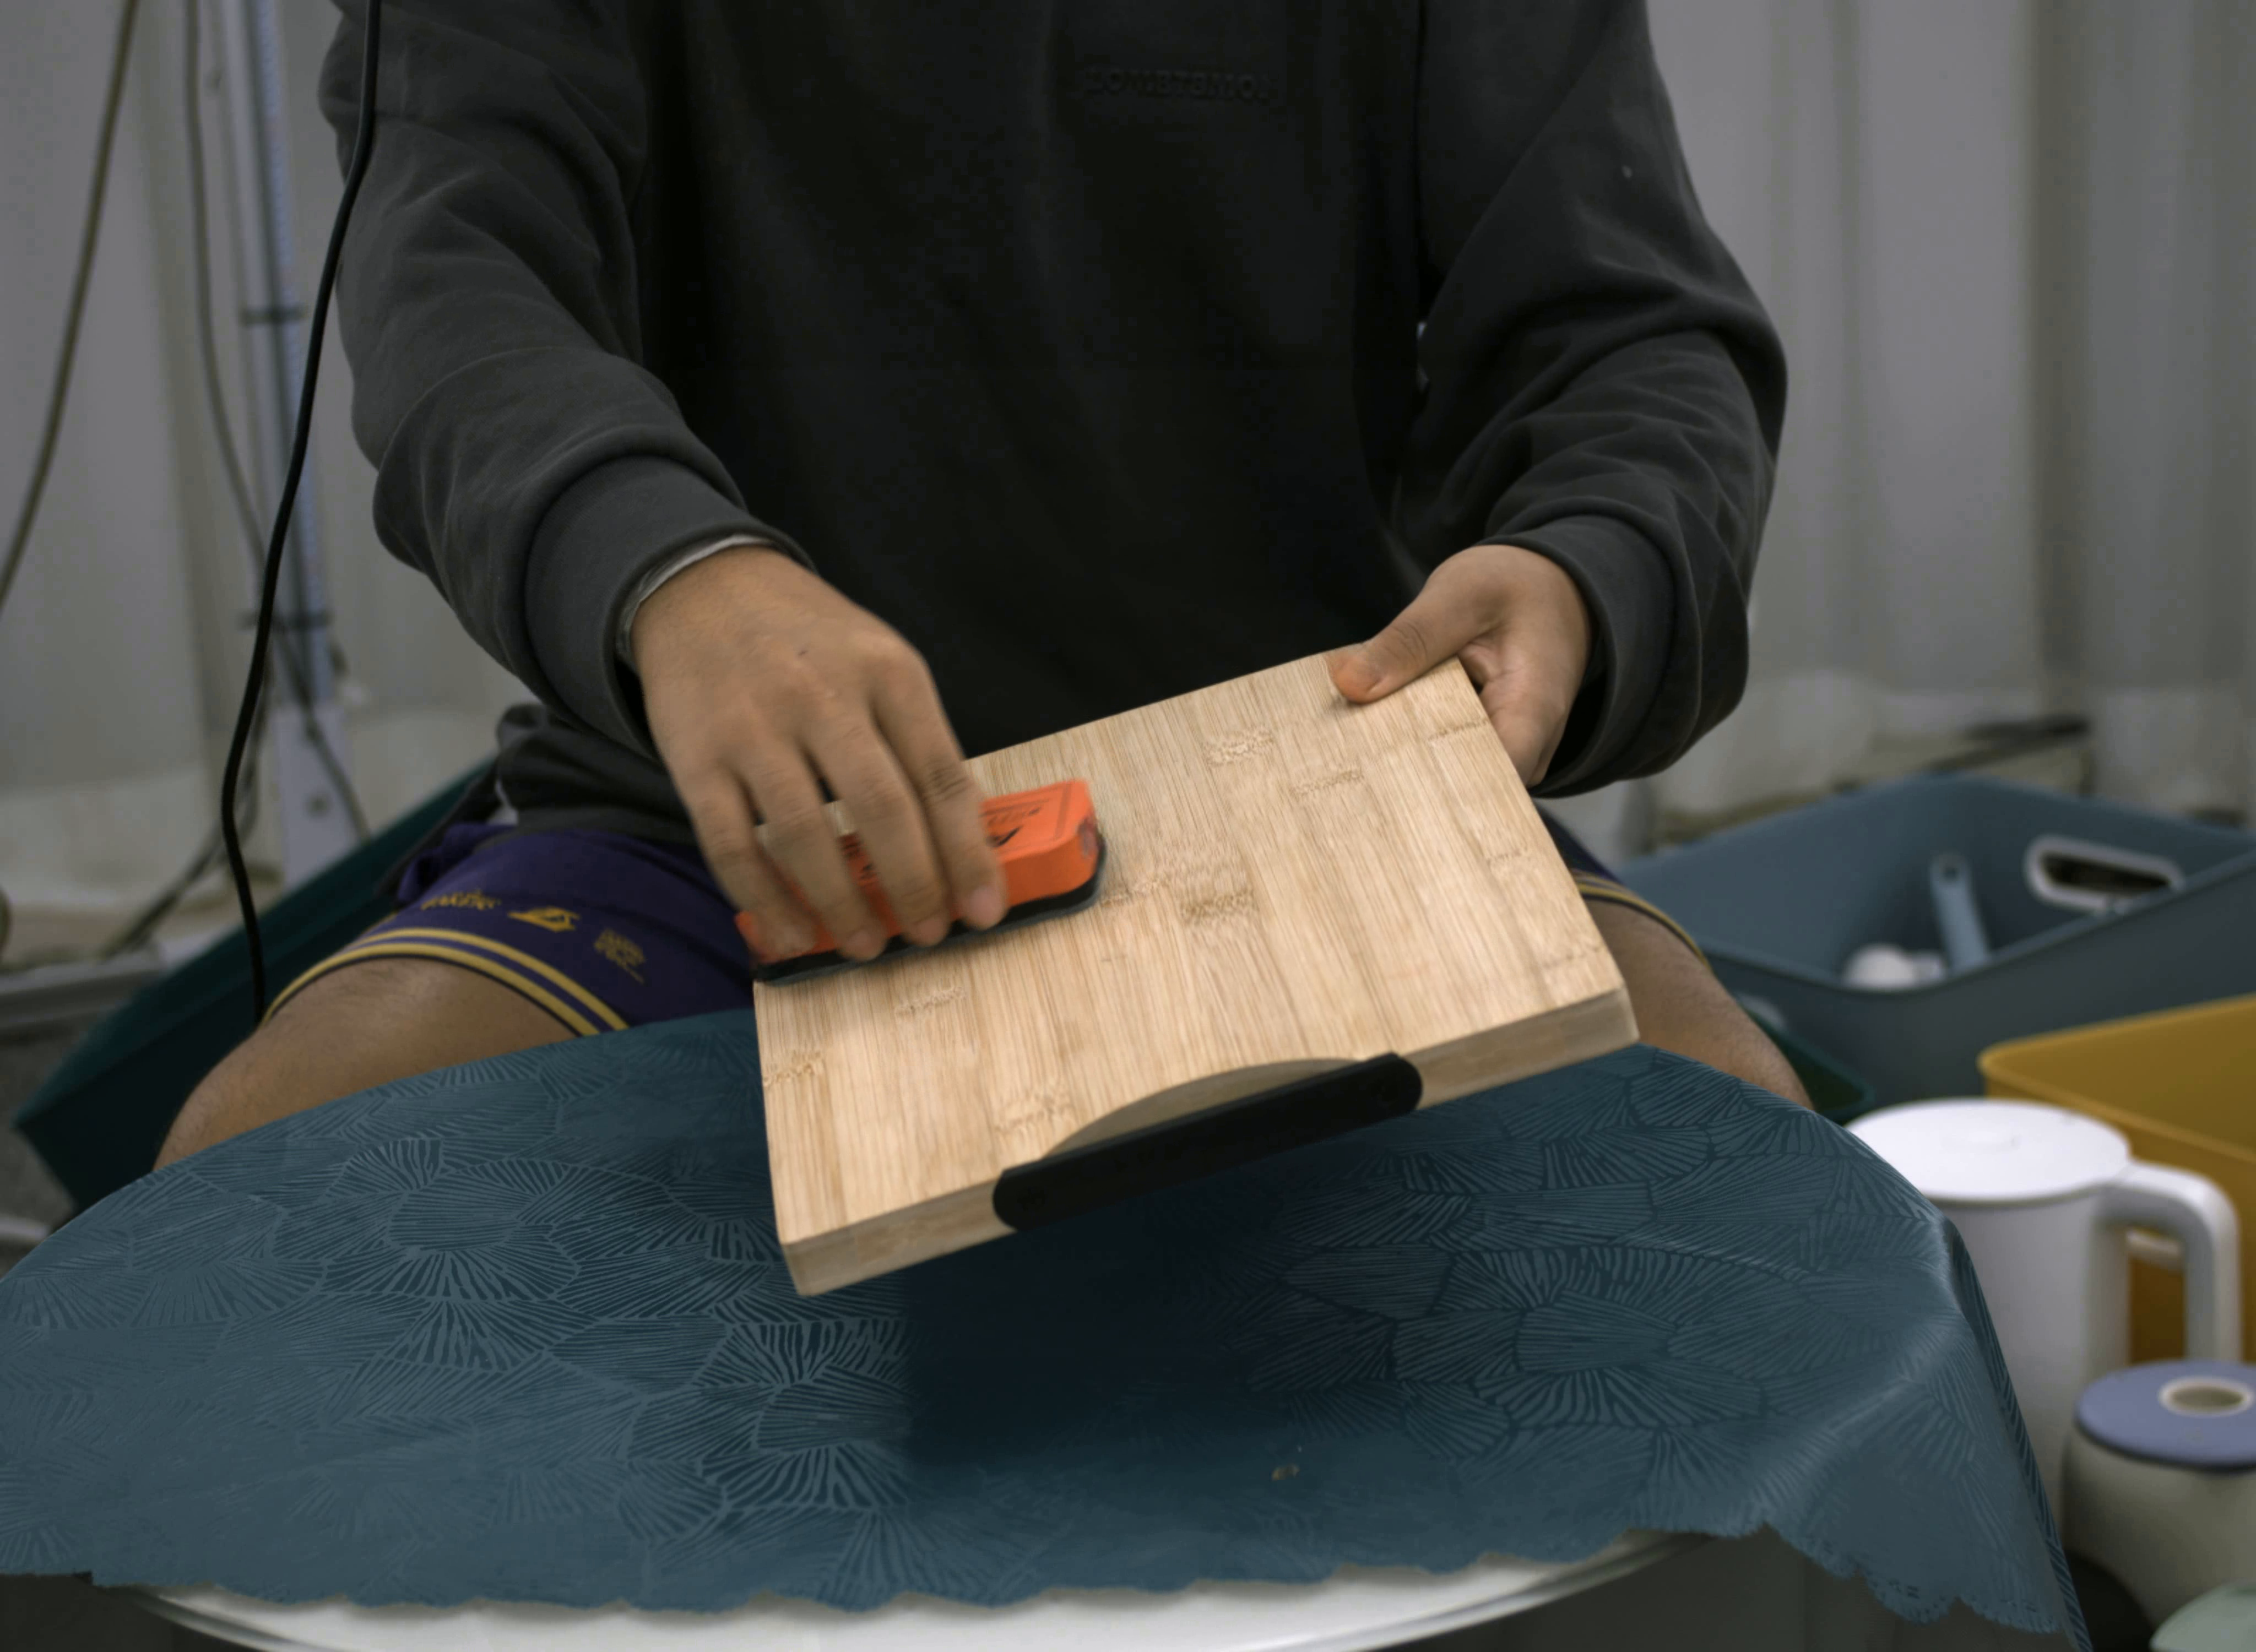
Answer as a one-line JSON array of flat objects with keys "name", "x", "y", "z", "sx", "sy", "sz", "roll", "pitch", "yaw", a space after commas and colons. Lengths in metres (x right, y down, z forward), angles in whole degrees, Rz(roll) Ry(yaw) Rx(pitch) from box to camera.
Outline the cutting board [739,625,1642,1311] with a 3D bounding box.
[{"name": "cutting board", "x": 0.006, "y": 0.032, "z": 1.625, "sx": 0.250, "sy": 0.023, "sz": 0.352, "roll": -18, "pitch": 20, "yaw": -1}]

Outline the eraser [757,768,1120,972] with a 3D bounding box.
[{"name": "eraser", "x": -0.057, "y": 0.013, "z": 1.665, "sx": 0.108, "sy": 0.023, "sz": 0.059, "roll": -14, "pitch": 21, "yaw": 9}]
